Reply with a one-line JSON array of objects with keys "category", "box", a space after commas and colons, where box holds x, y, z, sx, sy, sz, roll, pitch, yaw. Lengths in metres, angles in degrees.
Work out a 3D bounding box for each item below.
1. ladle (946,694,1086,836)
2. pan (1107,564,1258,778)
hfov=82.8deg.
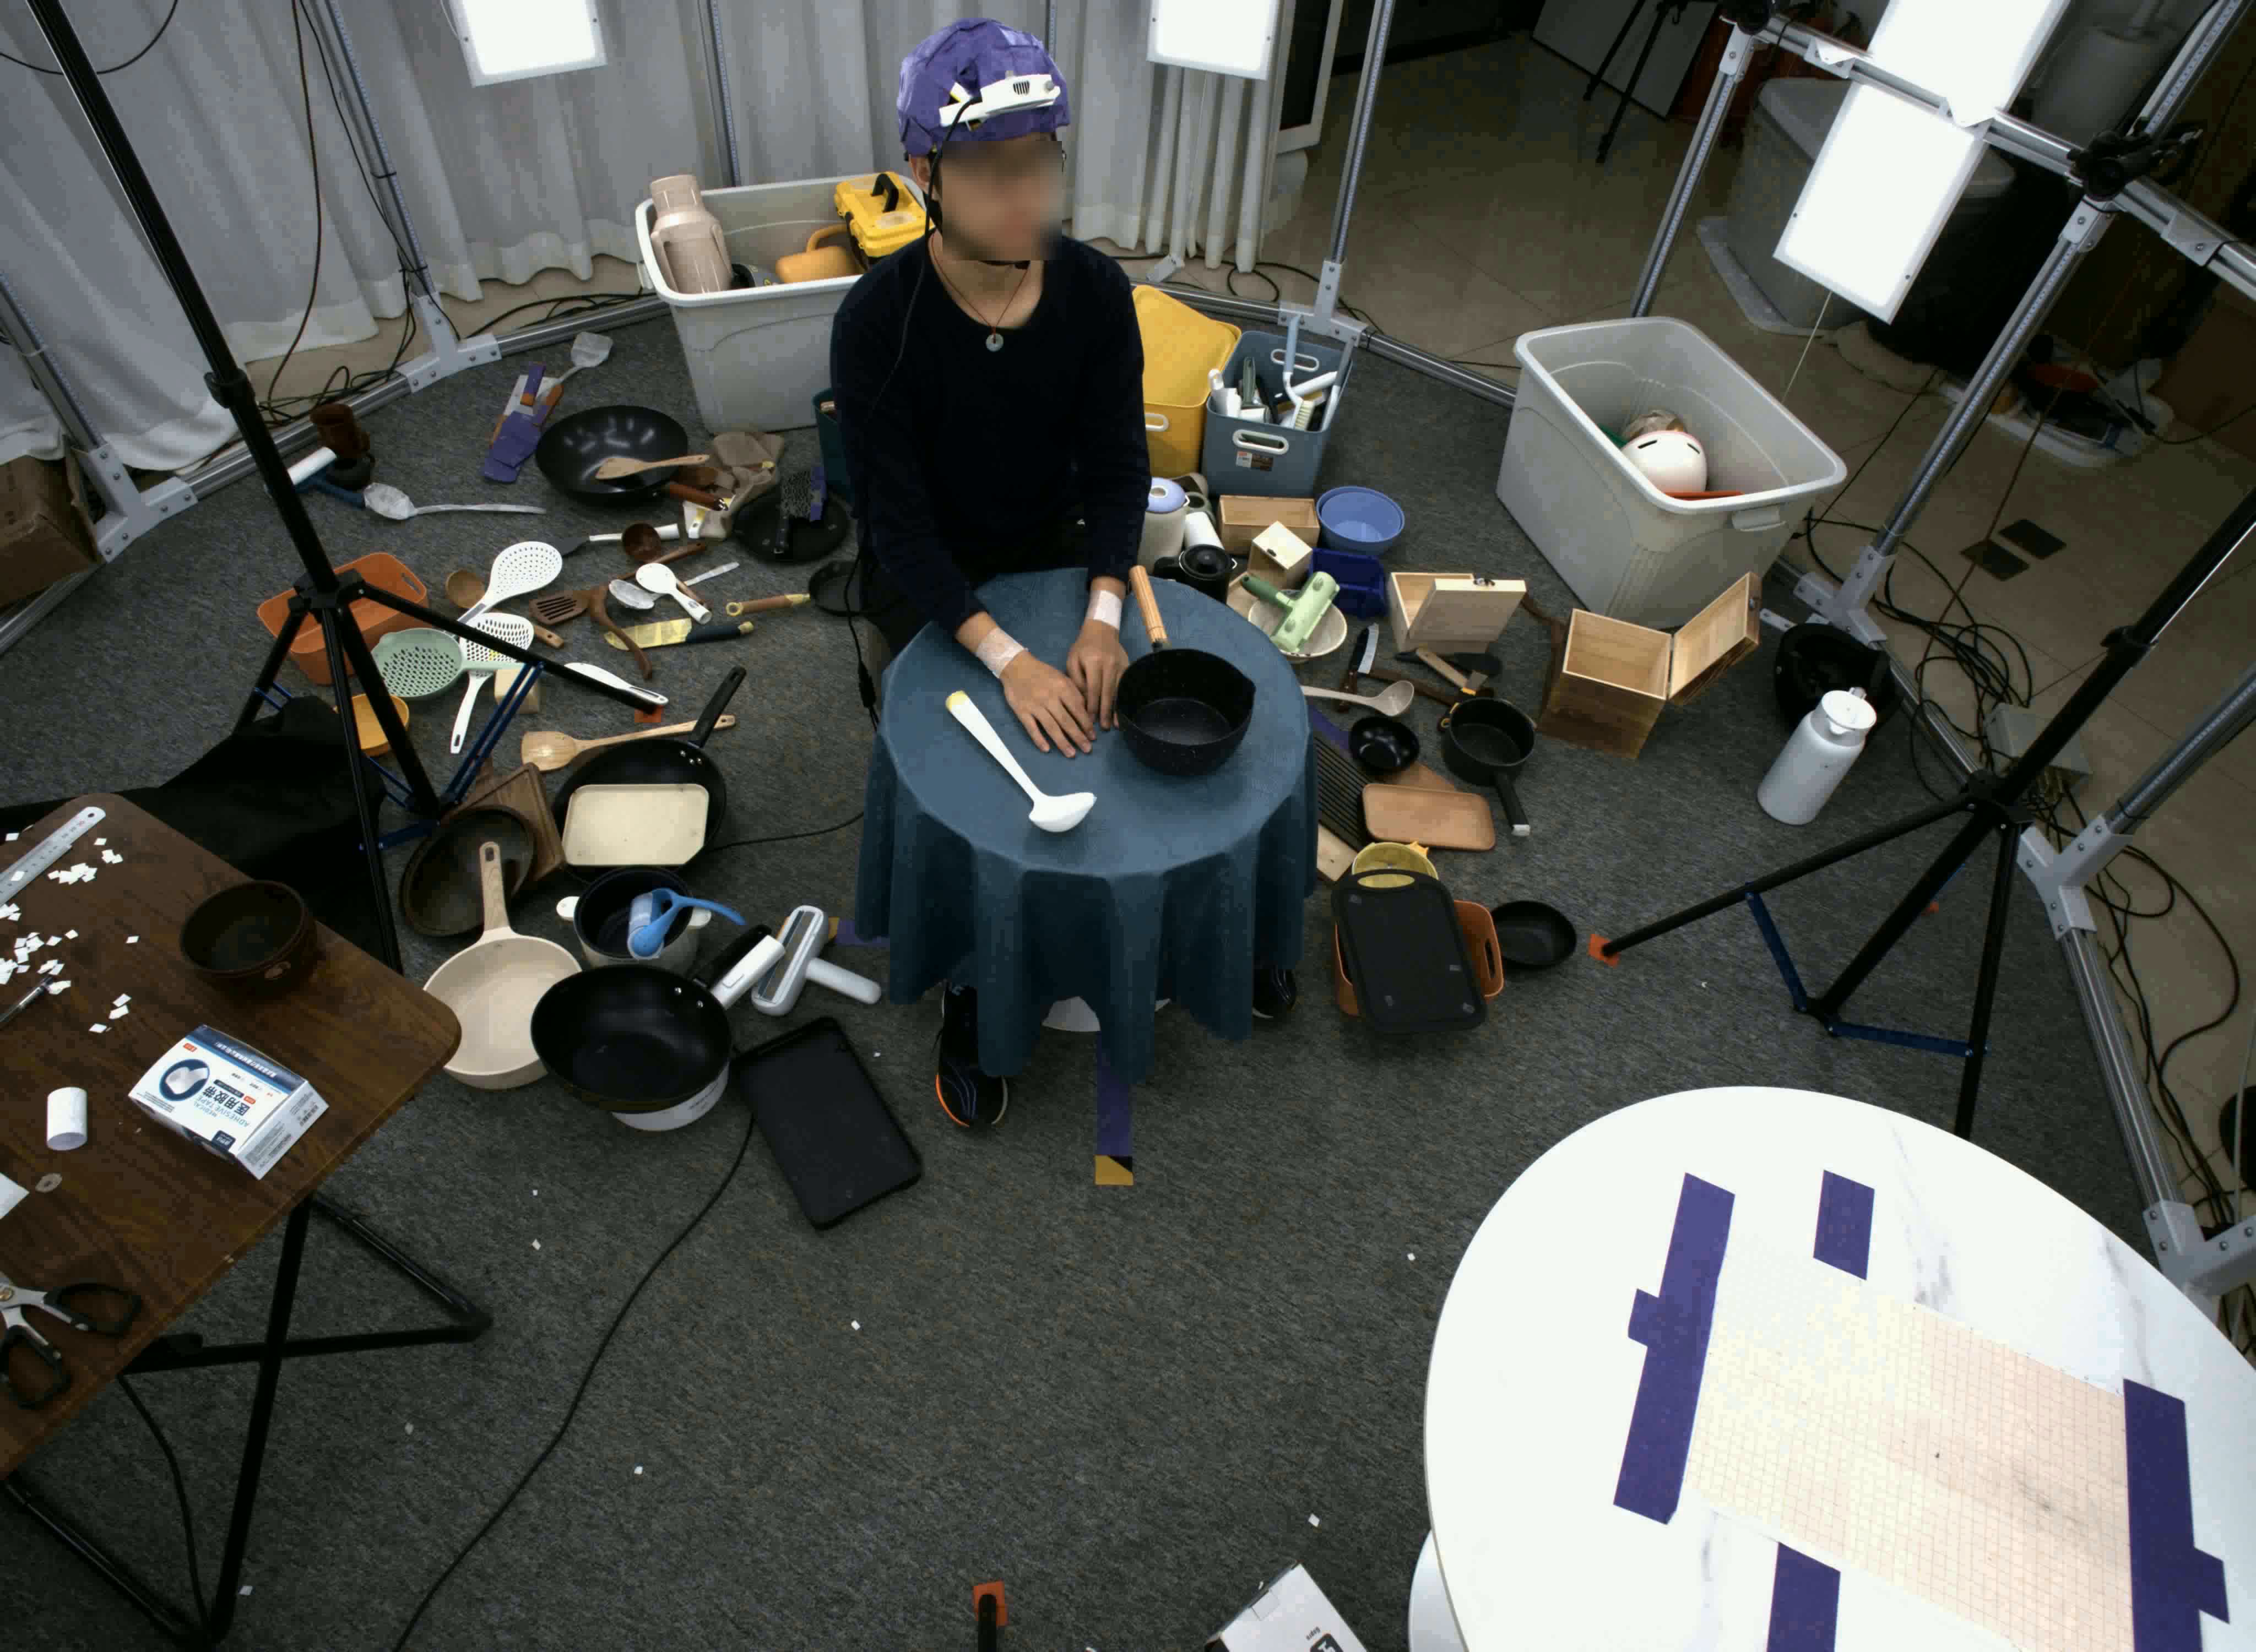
[{"category": "ladle", "box": [-0.159, -0.089, 1.694, 0.090, 0.068, 0.299, -28, 55, -19]}, {"category": "pan", "box": [0.053, -0.217, 1.791, 0.207, 0.105, 0.351, -11, 52, -12]}]
